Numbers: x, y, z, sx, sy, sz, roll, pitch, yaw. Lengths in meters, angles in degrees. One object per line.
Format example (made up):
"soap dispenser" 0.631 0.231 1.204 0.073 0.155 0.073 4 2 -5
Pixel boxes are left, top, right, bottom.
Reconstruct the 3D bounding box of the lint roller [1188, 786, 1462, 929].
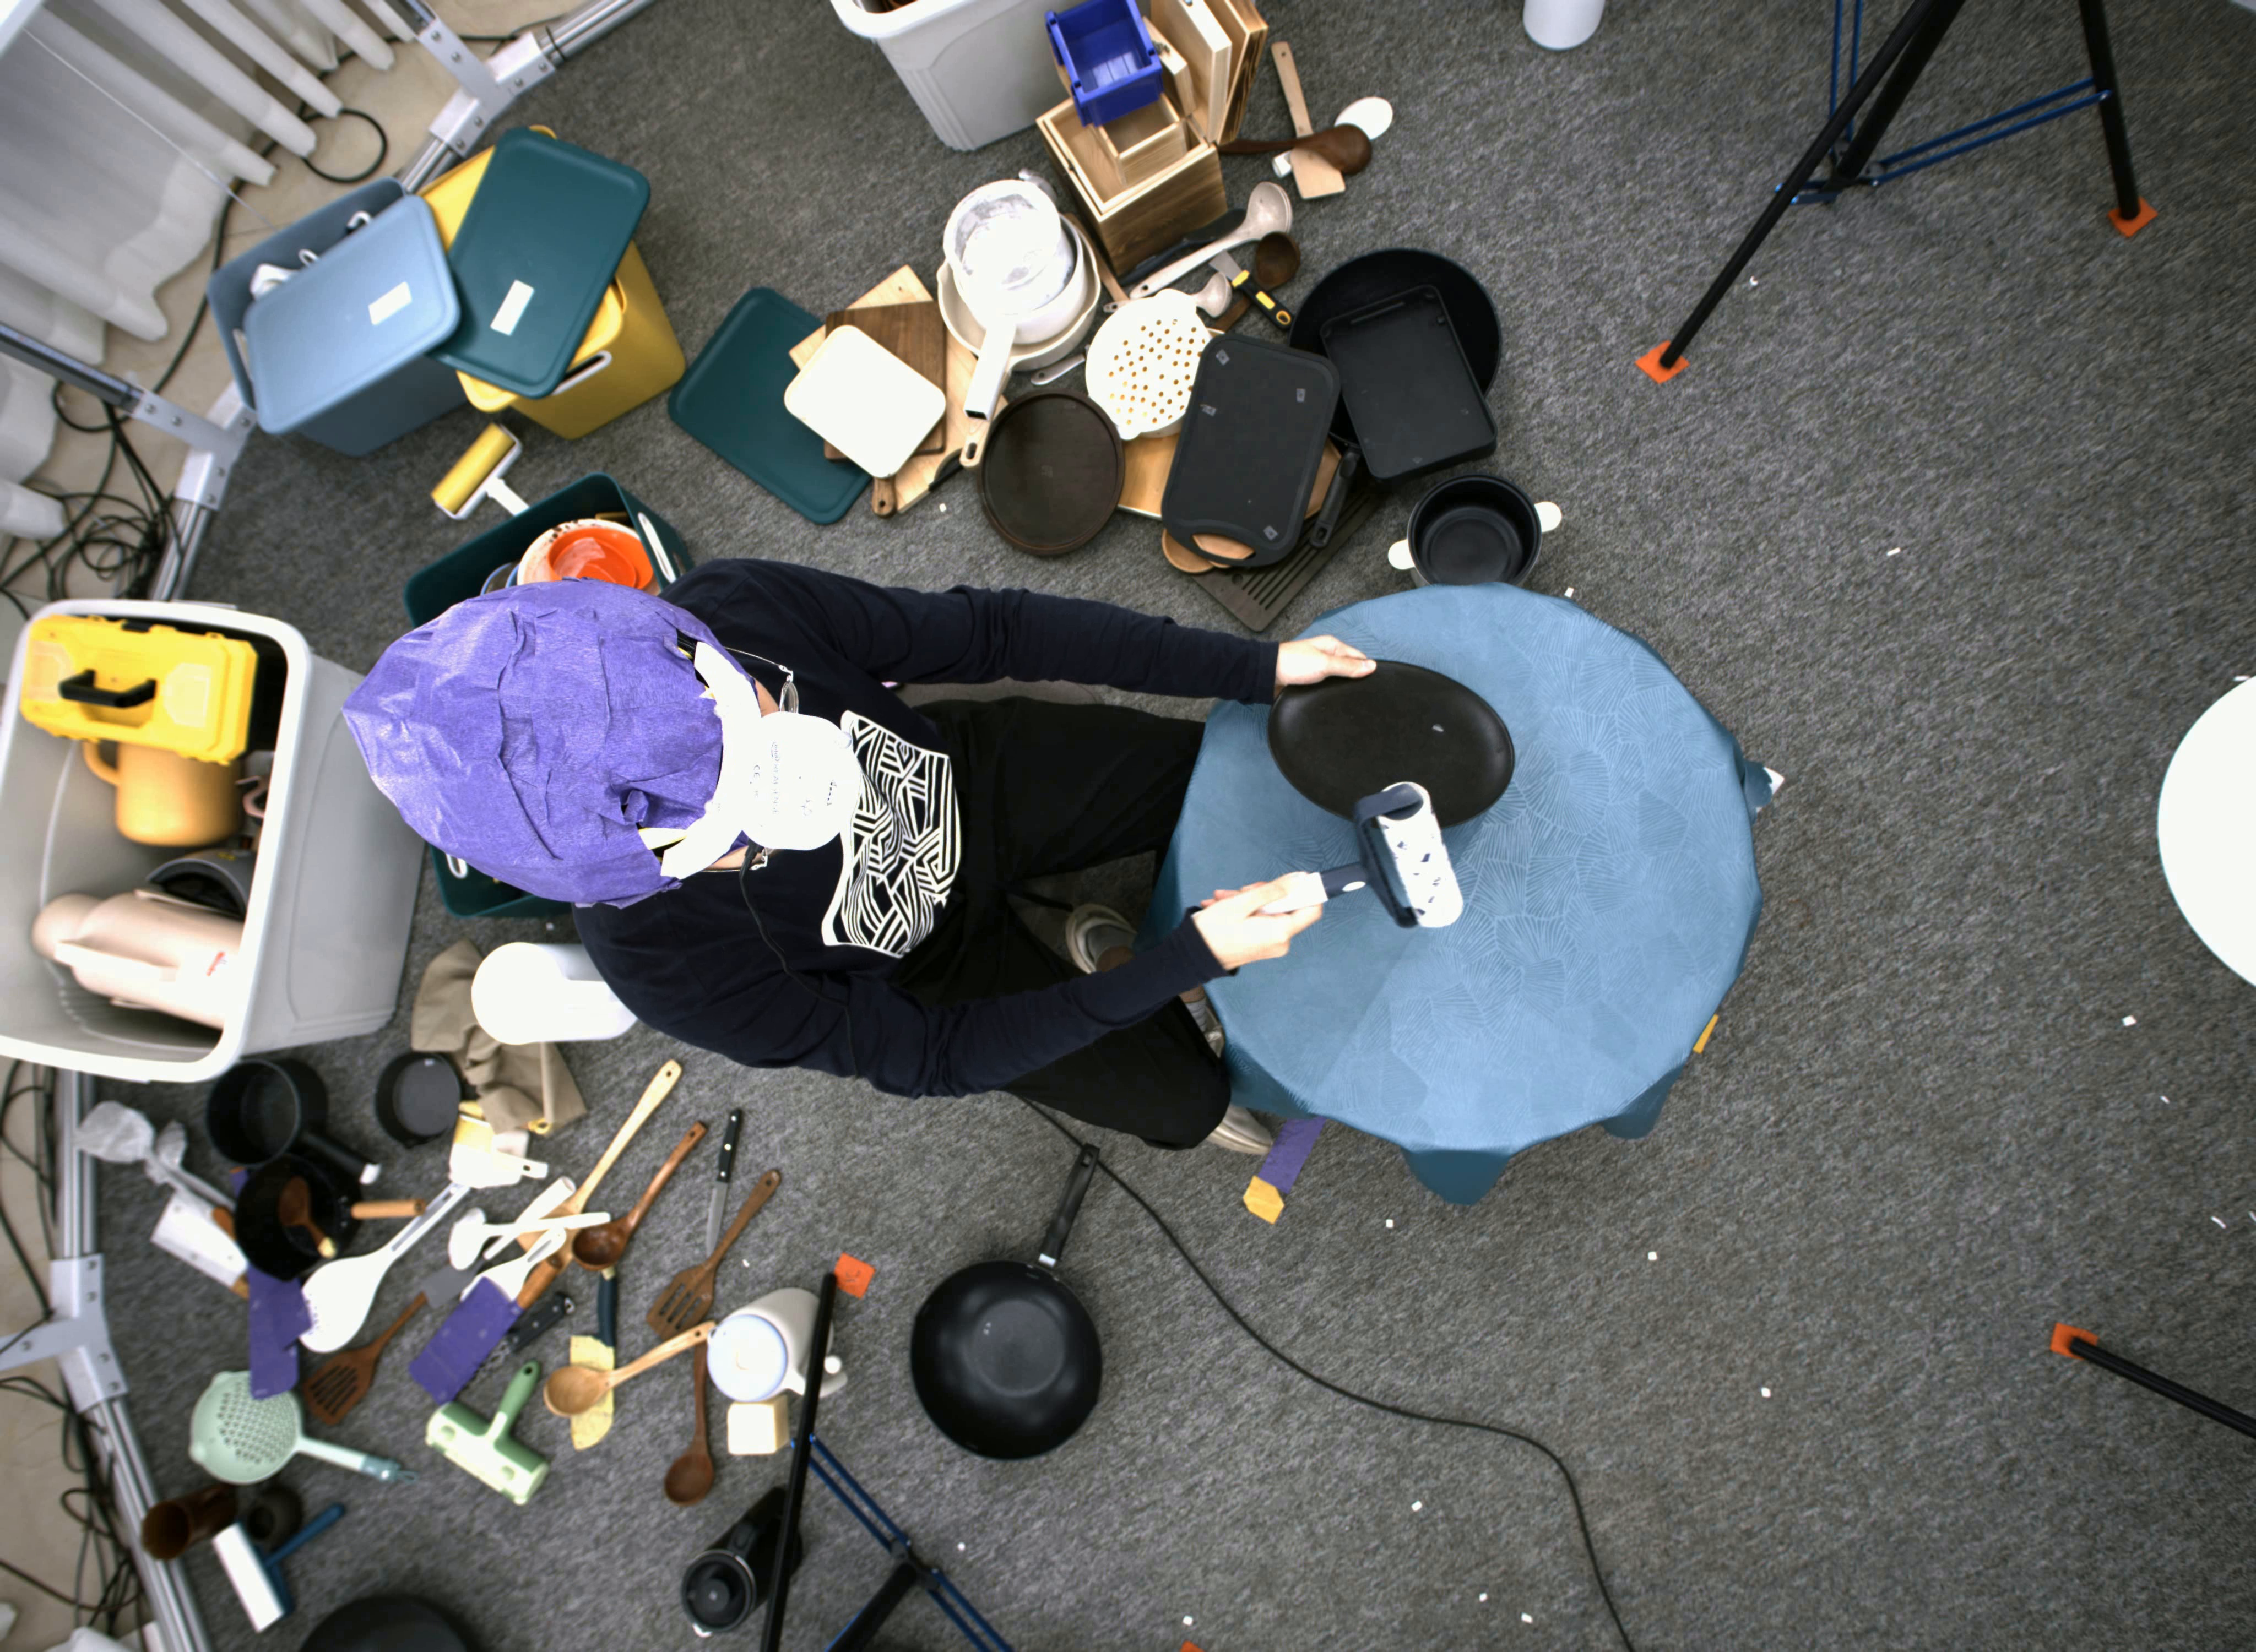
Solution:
"lint roller" 0.175 0.059 1.277 0.249 0.179 0.049 -18 48 14

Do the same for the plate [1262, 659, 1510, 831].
"plate" 0.251 -0.078 1.347 0.244 0.024 0.238 1 49 -2
